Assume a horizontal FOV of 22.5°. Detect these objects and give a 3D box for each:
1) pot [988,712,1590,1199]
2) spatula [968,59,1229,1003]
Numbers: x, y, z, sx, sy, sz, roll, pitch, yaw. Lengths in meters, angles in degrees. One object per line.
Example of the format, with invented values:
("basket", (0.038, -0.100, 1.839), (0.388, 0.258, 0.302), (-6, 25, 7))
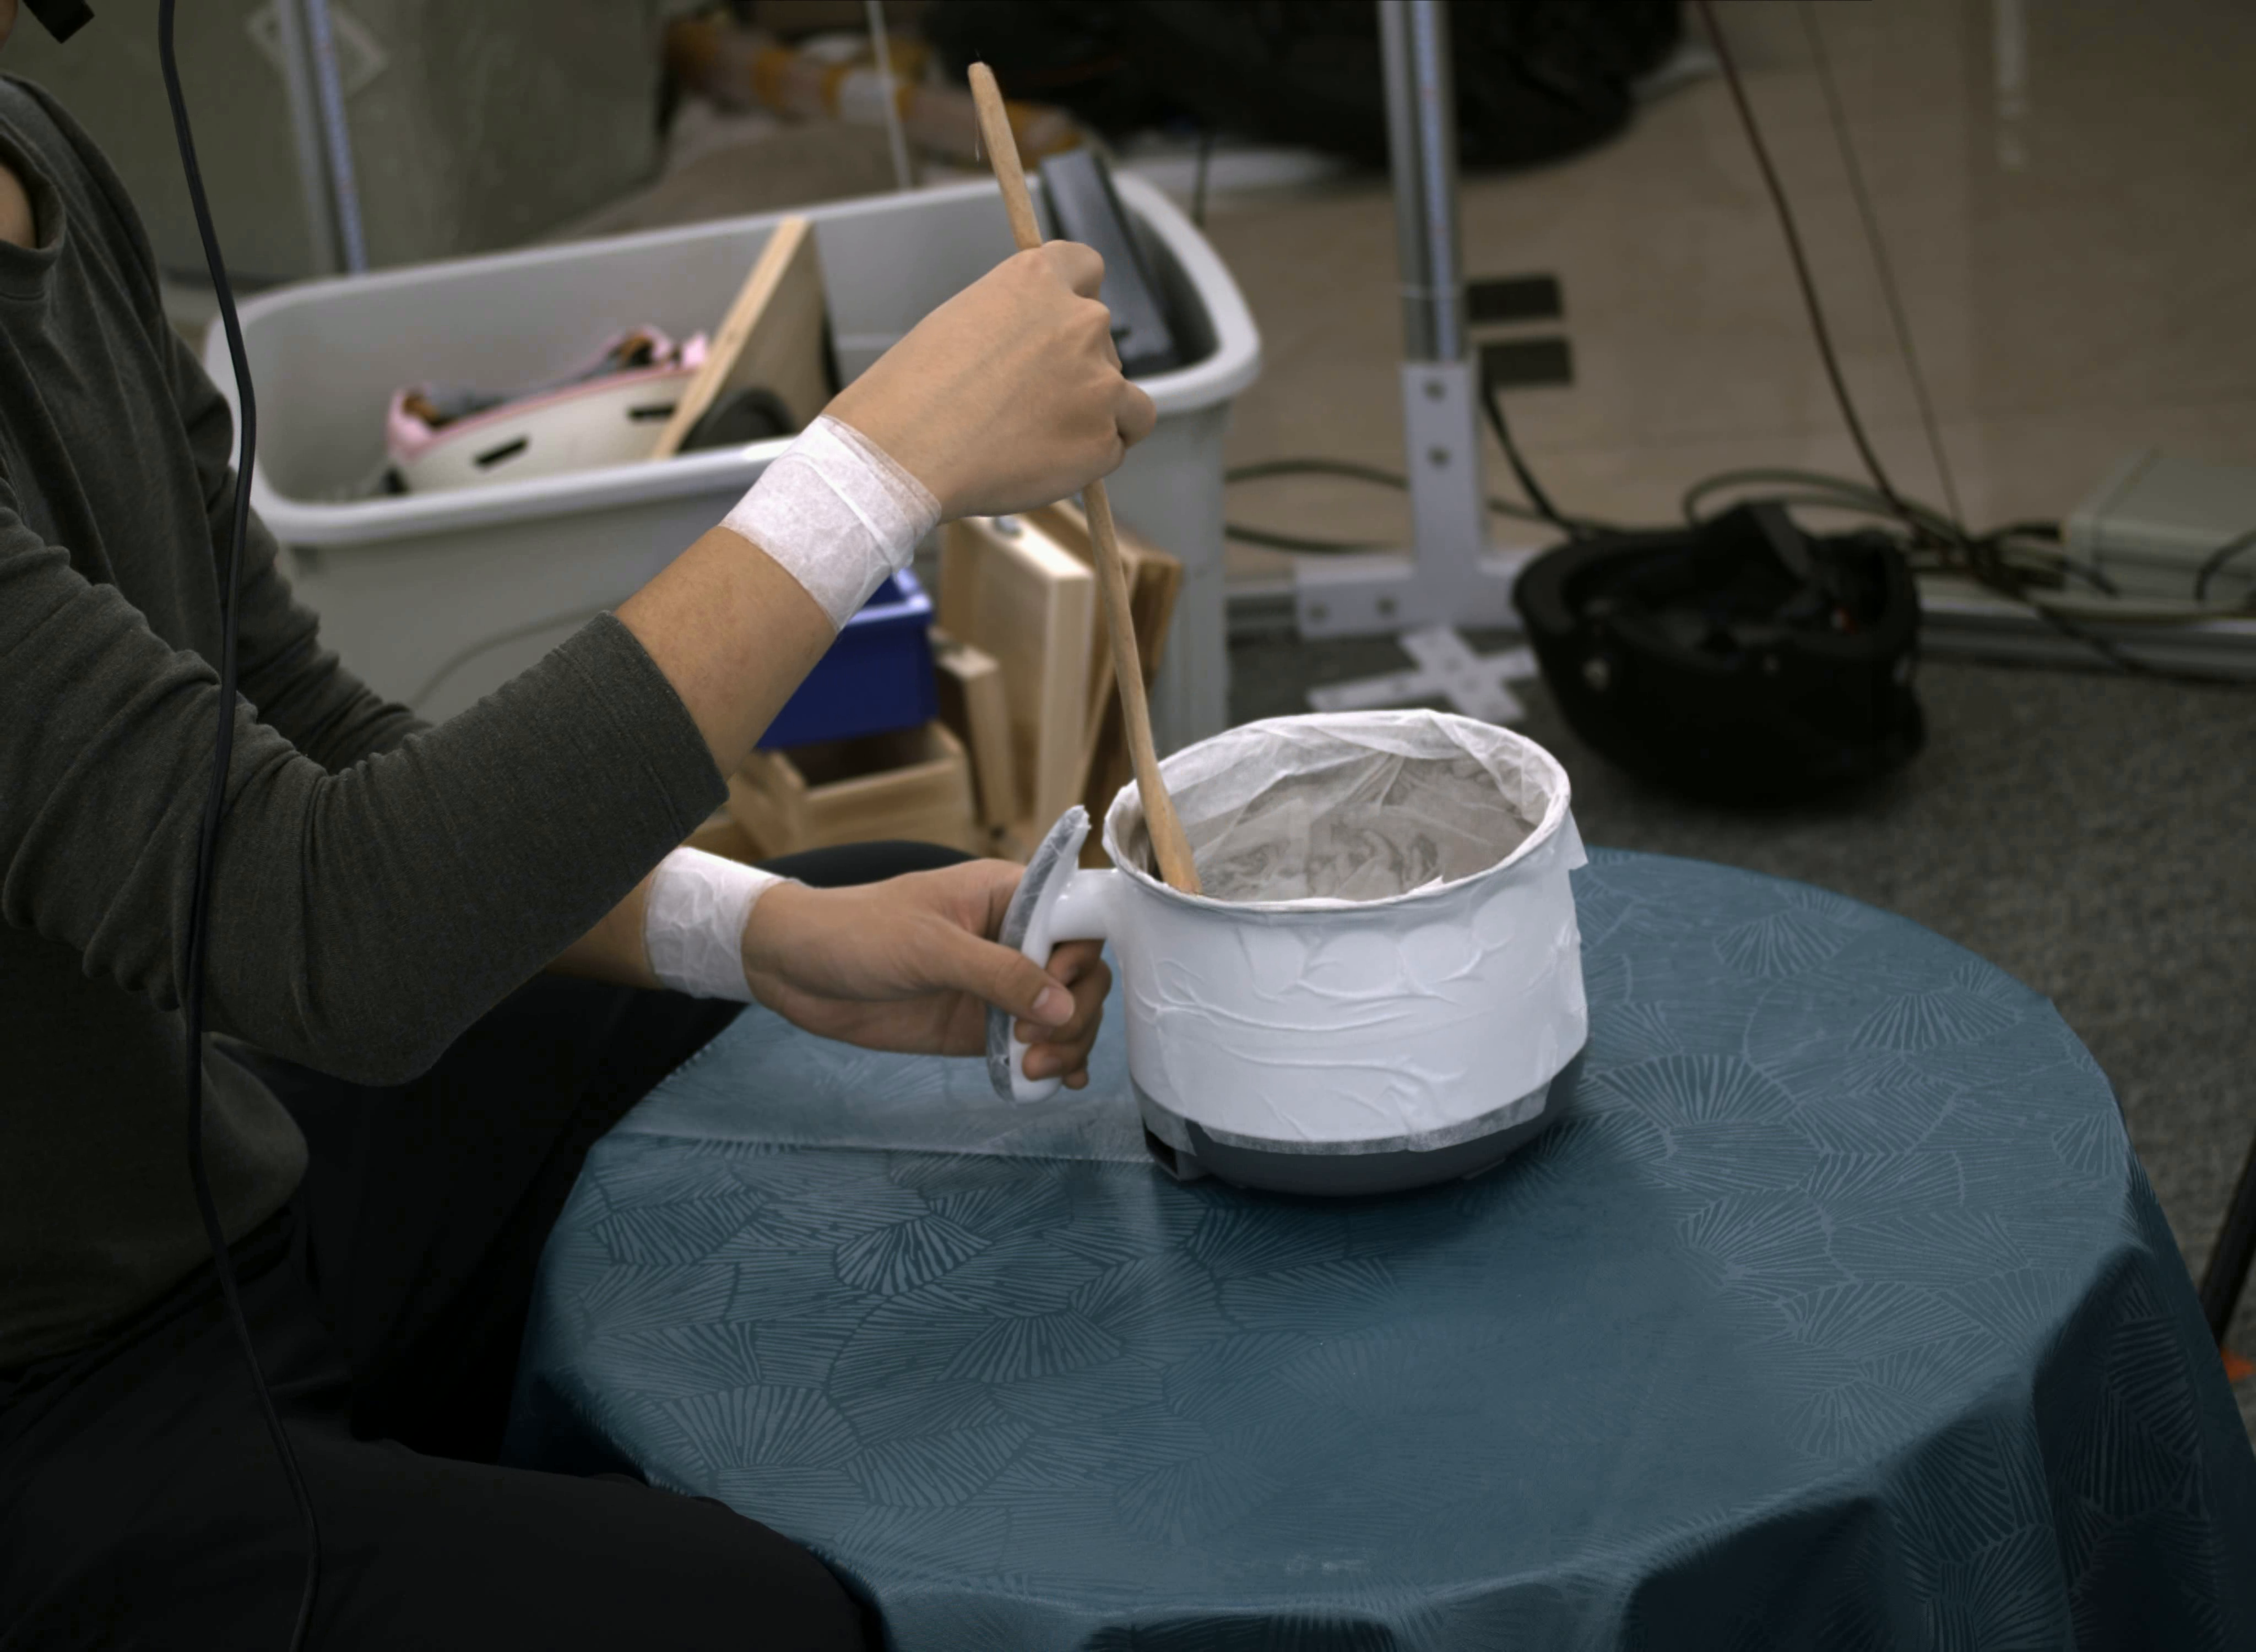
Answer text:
("pot", (0.058, 0.053, 2.162), (0.233, 0.139, 0.176), (-4, 25, 8))
("spatula", (-0.007, -0.098, 2.056), (0.018, 0.397, 0.094), (-14, 30, -1))
